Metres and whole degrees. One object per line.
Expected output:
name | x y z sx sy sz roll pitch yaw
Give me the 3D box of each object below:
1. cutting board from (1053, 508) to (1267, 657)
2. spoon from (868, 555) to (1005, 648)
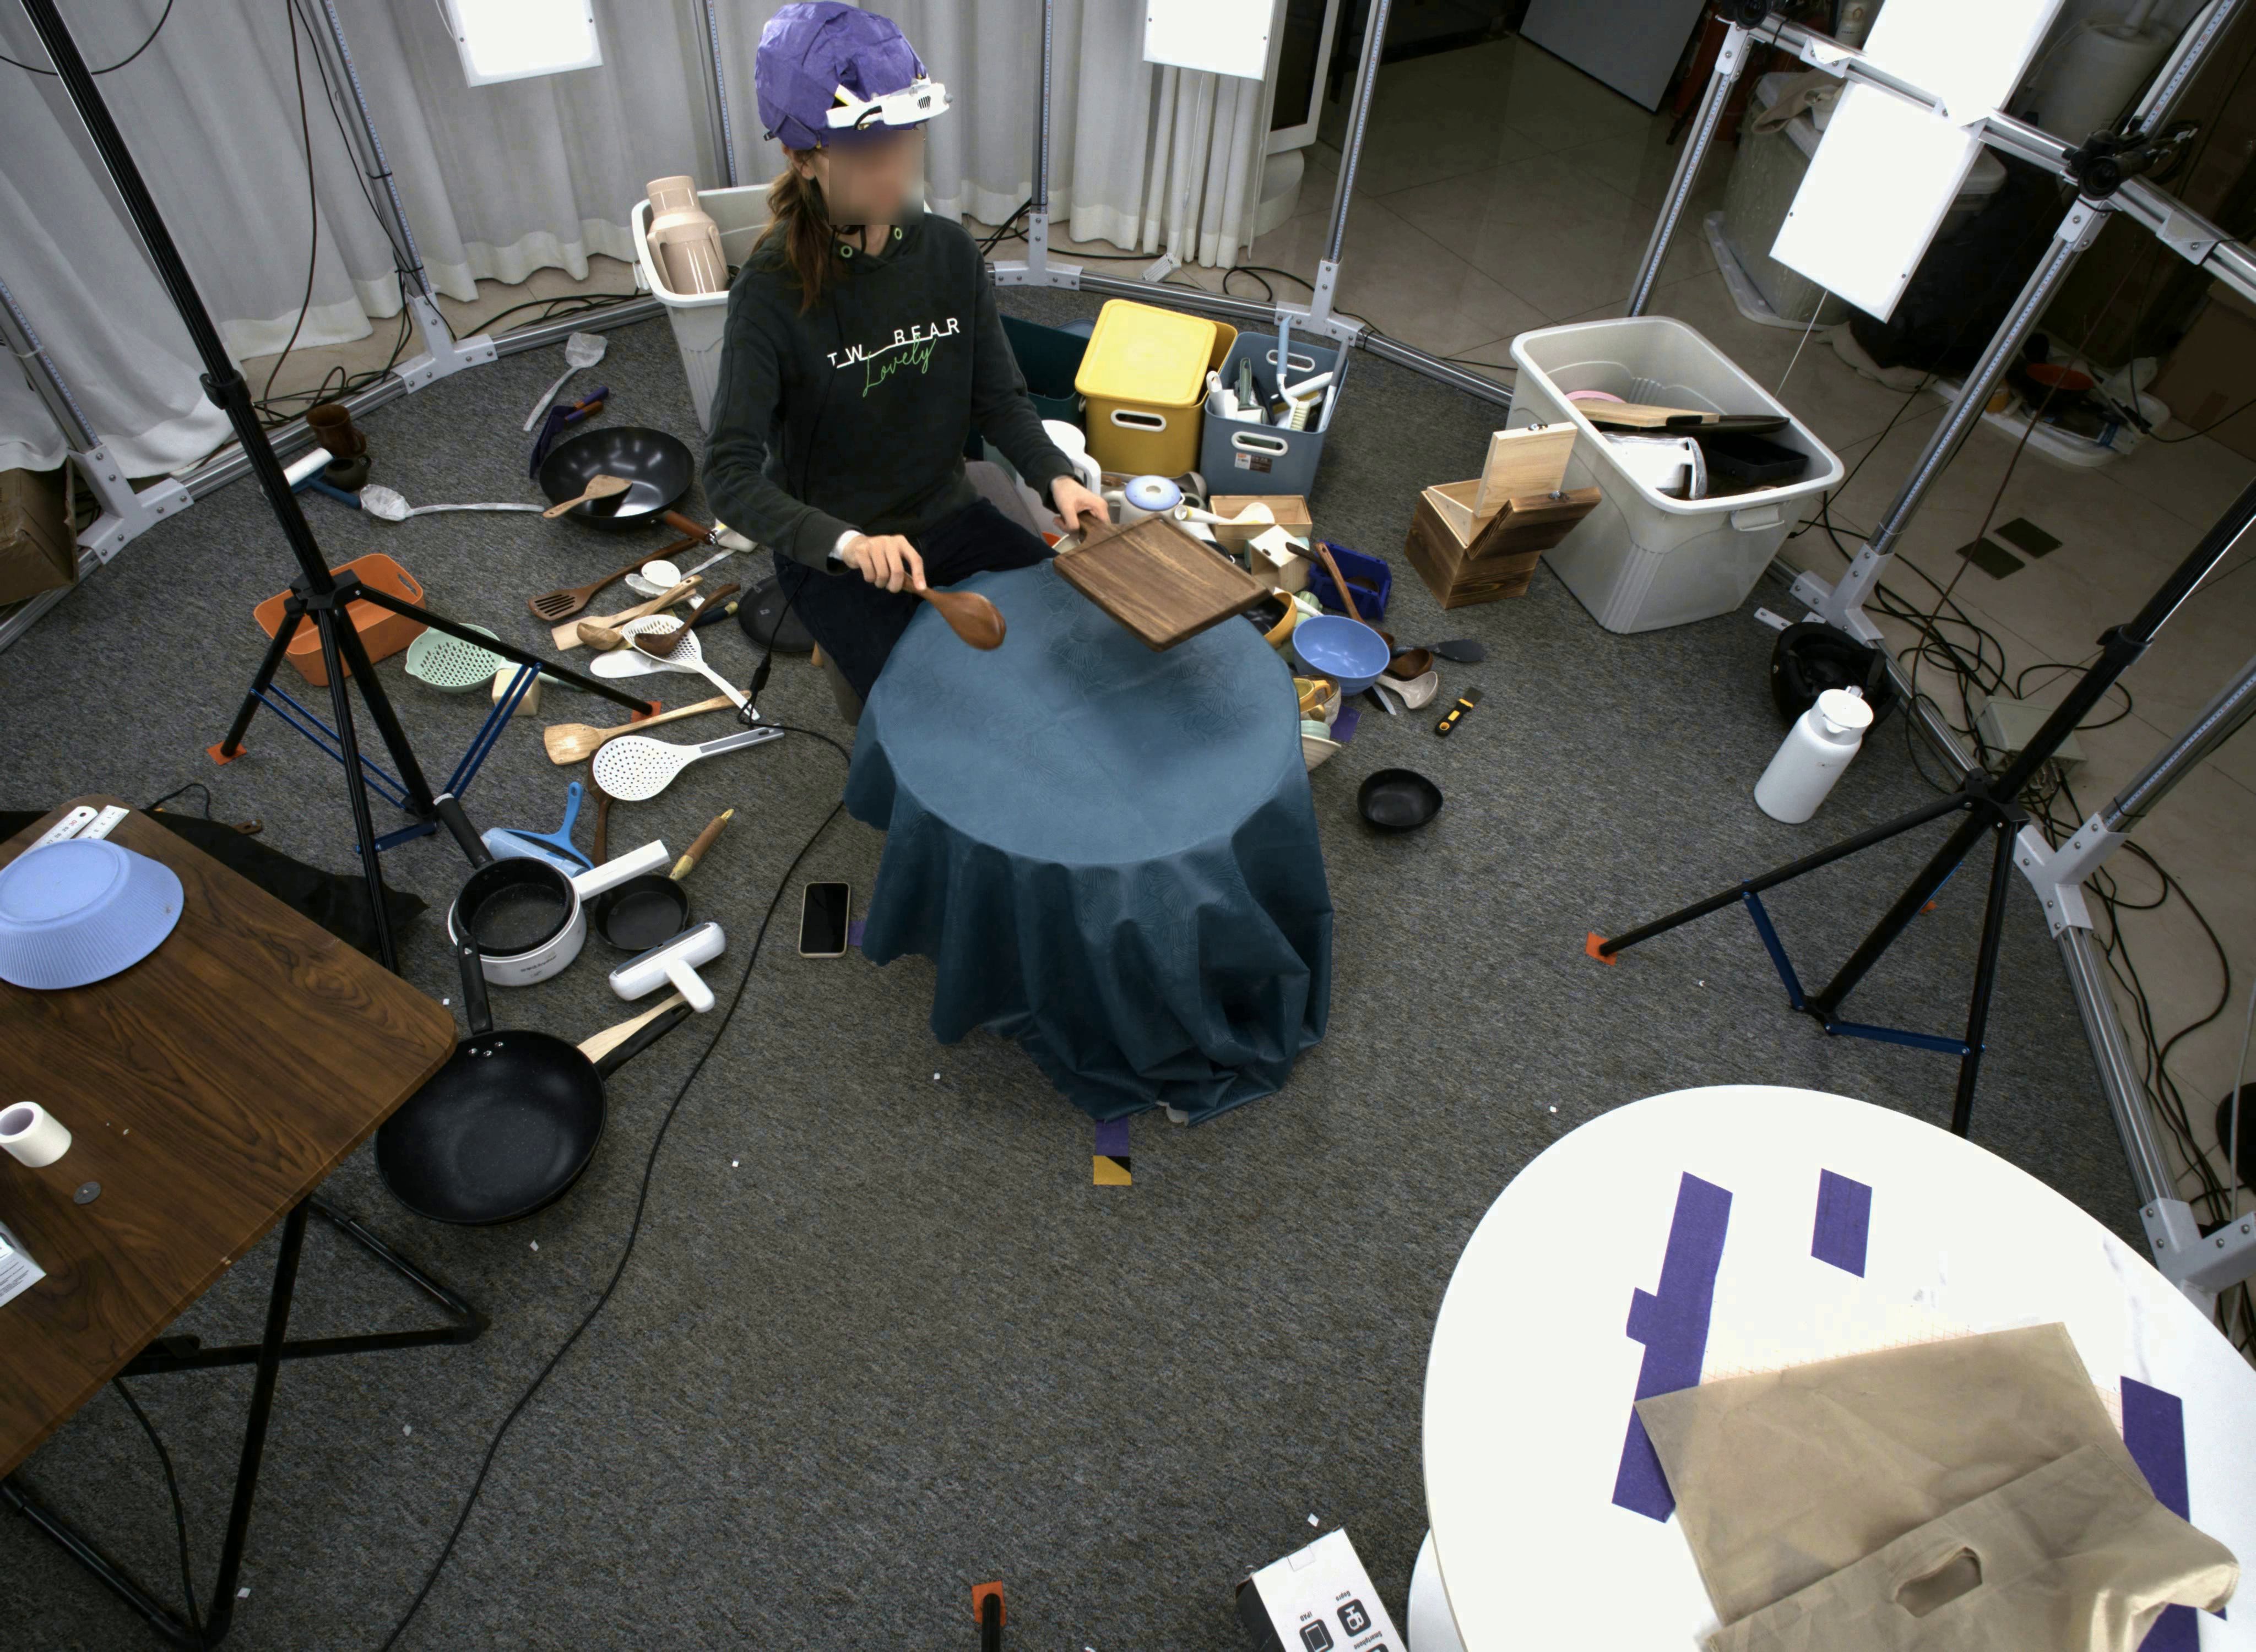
cutting board | 0.014 -0.373 1.847 0.202 0.022 0.359 -29 50 -22
spoon | -0.248 -0.293 1.661 0.218 0.074 0.017 32 46 18
